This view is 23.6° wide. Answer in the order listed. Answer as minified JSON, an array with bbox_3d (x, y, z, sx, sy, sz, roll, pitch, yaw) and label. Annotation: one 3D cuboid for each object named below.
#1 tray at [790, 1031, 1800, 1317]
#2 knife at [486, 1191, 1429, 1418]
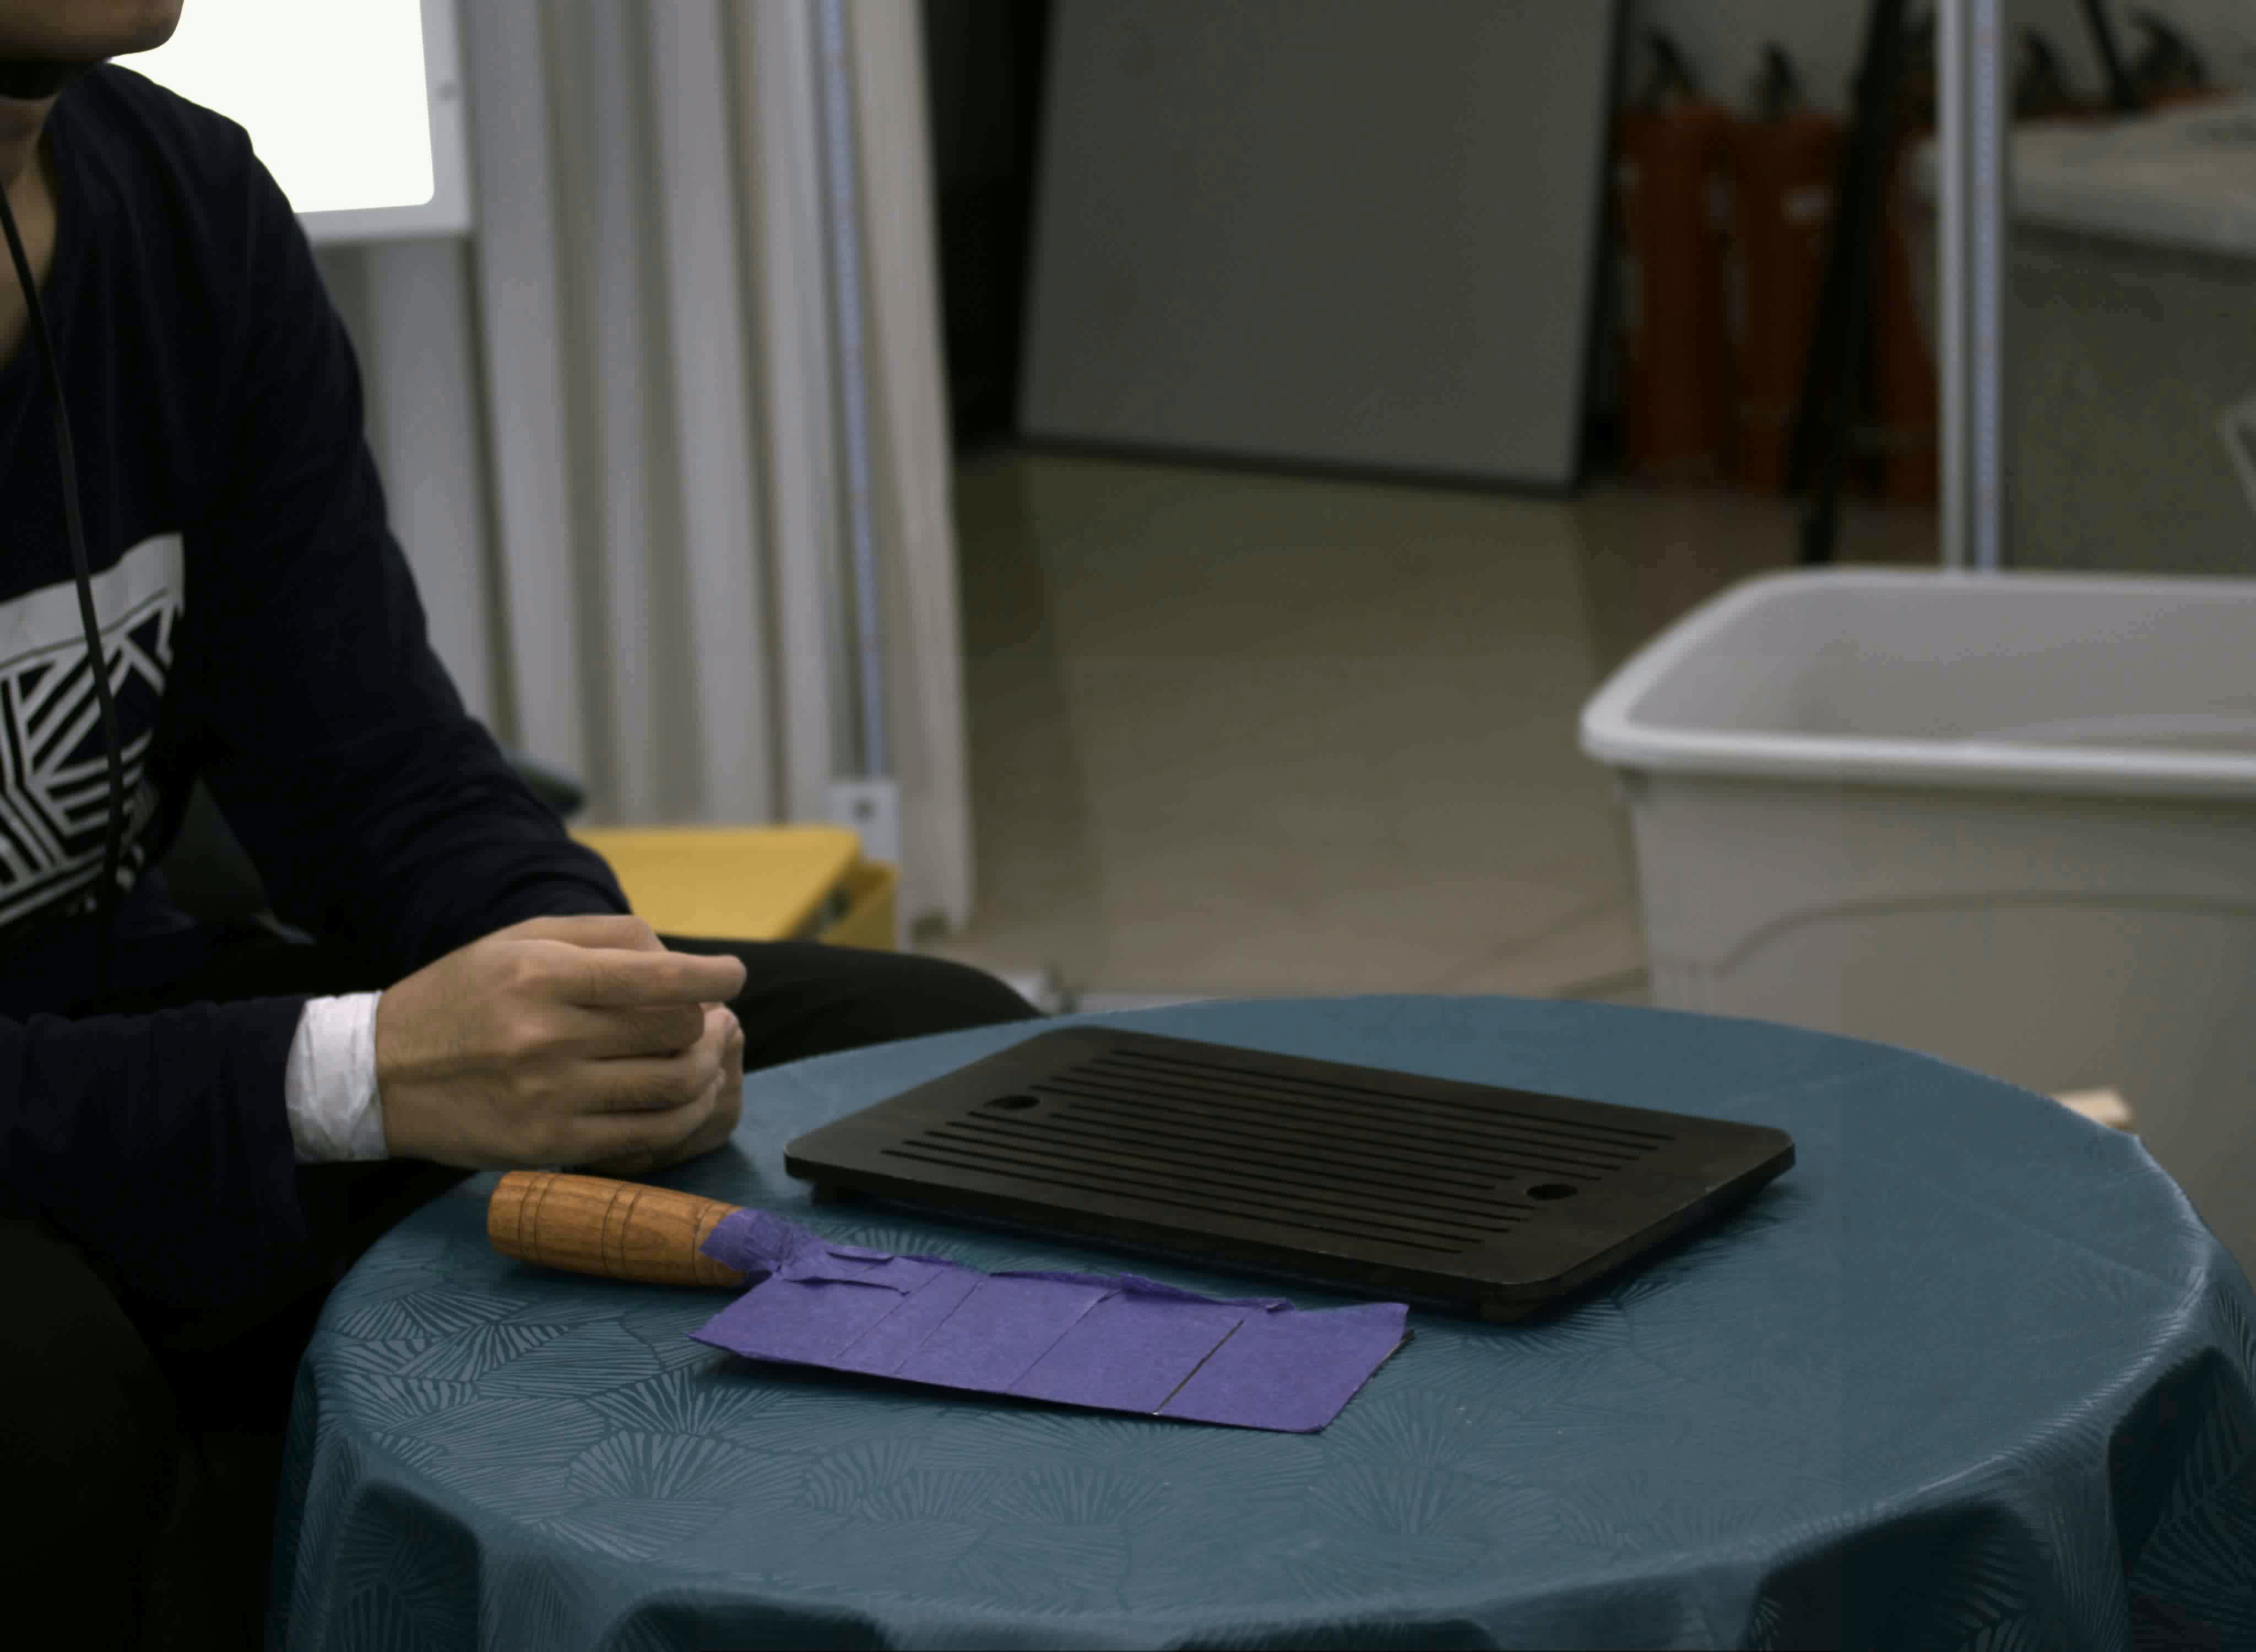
[{"bbox_3d":[0.052,0.111,1.763,0.308,0.019,0.167,6,17,38],"label":"tray"},{"bbox_3d":[-0.068,0.145,1.641,0.315,0.032,0.102,3,14,24],"label":"knife"}]
